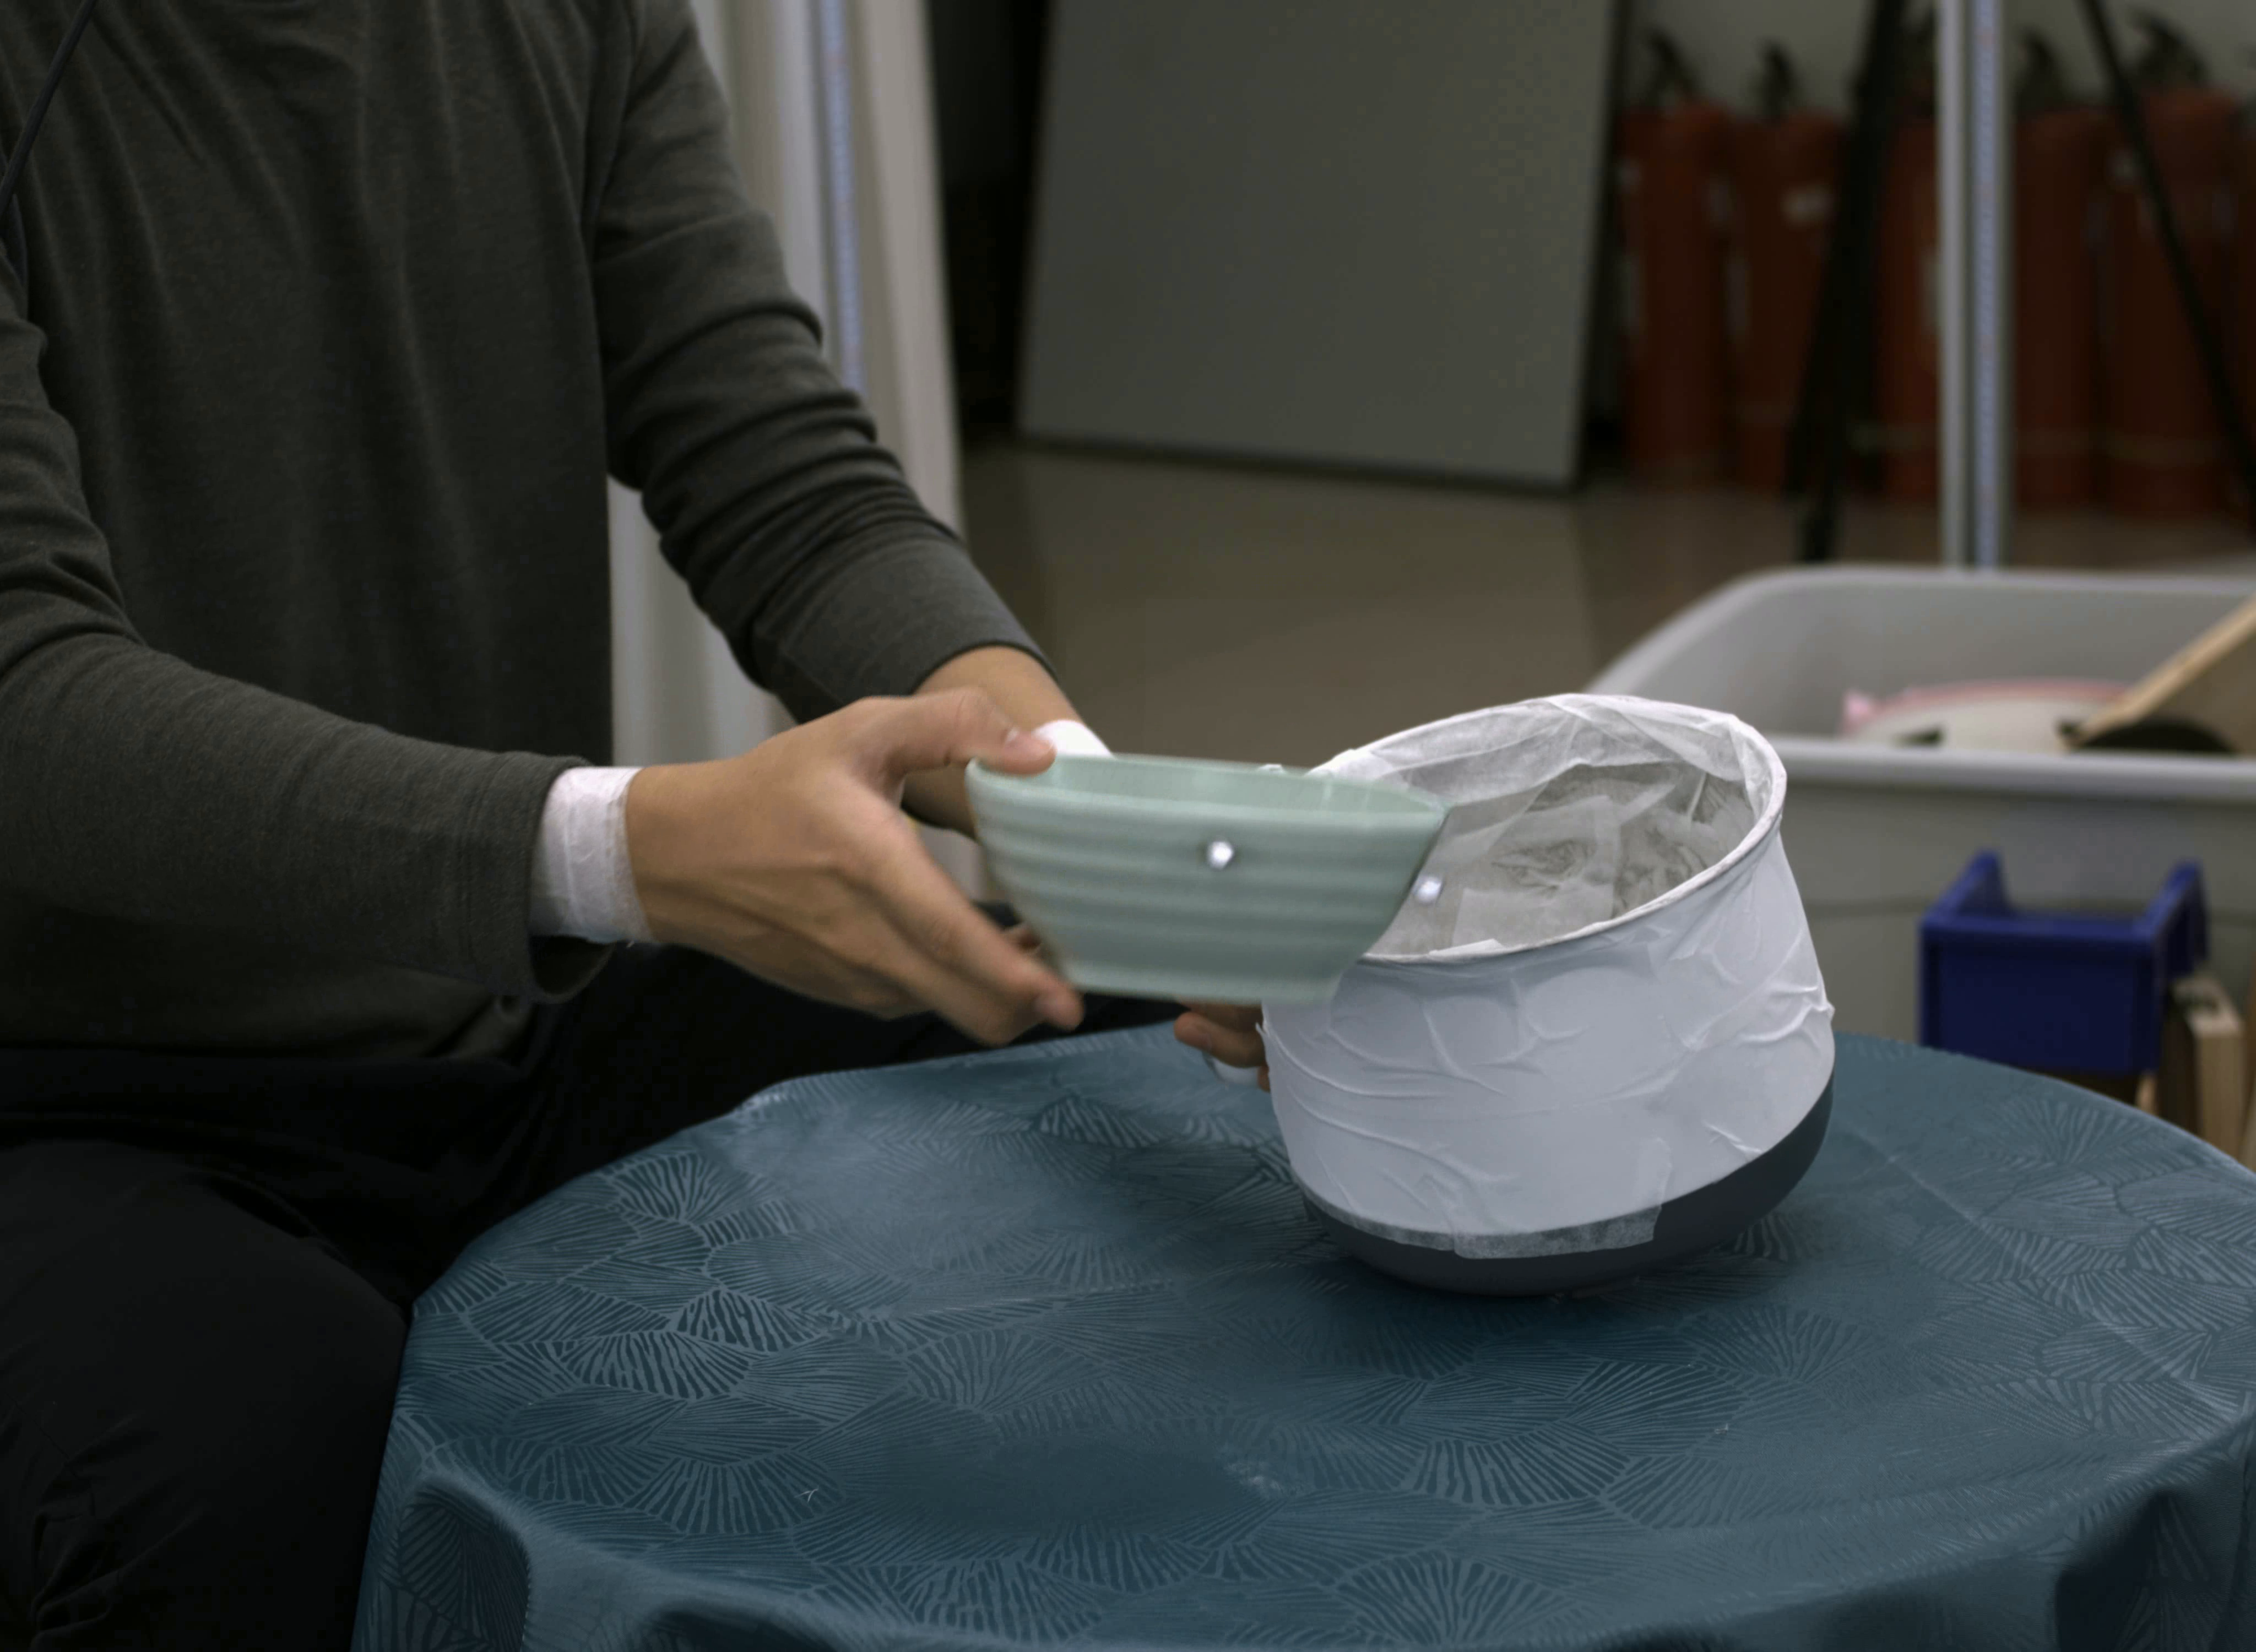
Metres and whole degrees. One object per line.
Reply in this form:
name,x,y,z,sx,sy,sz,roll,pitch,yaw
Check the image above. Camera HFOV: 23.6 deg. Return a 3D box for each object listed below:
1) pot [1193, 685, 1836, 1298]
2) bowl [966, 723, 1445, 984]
pot,0.108,0.050,1.694,0.236,0.137,0.176,9,32,42
bowl,0.020,0.009,1.542,0.149,0.059,0.151,5,5,-1
